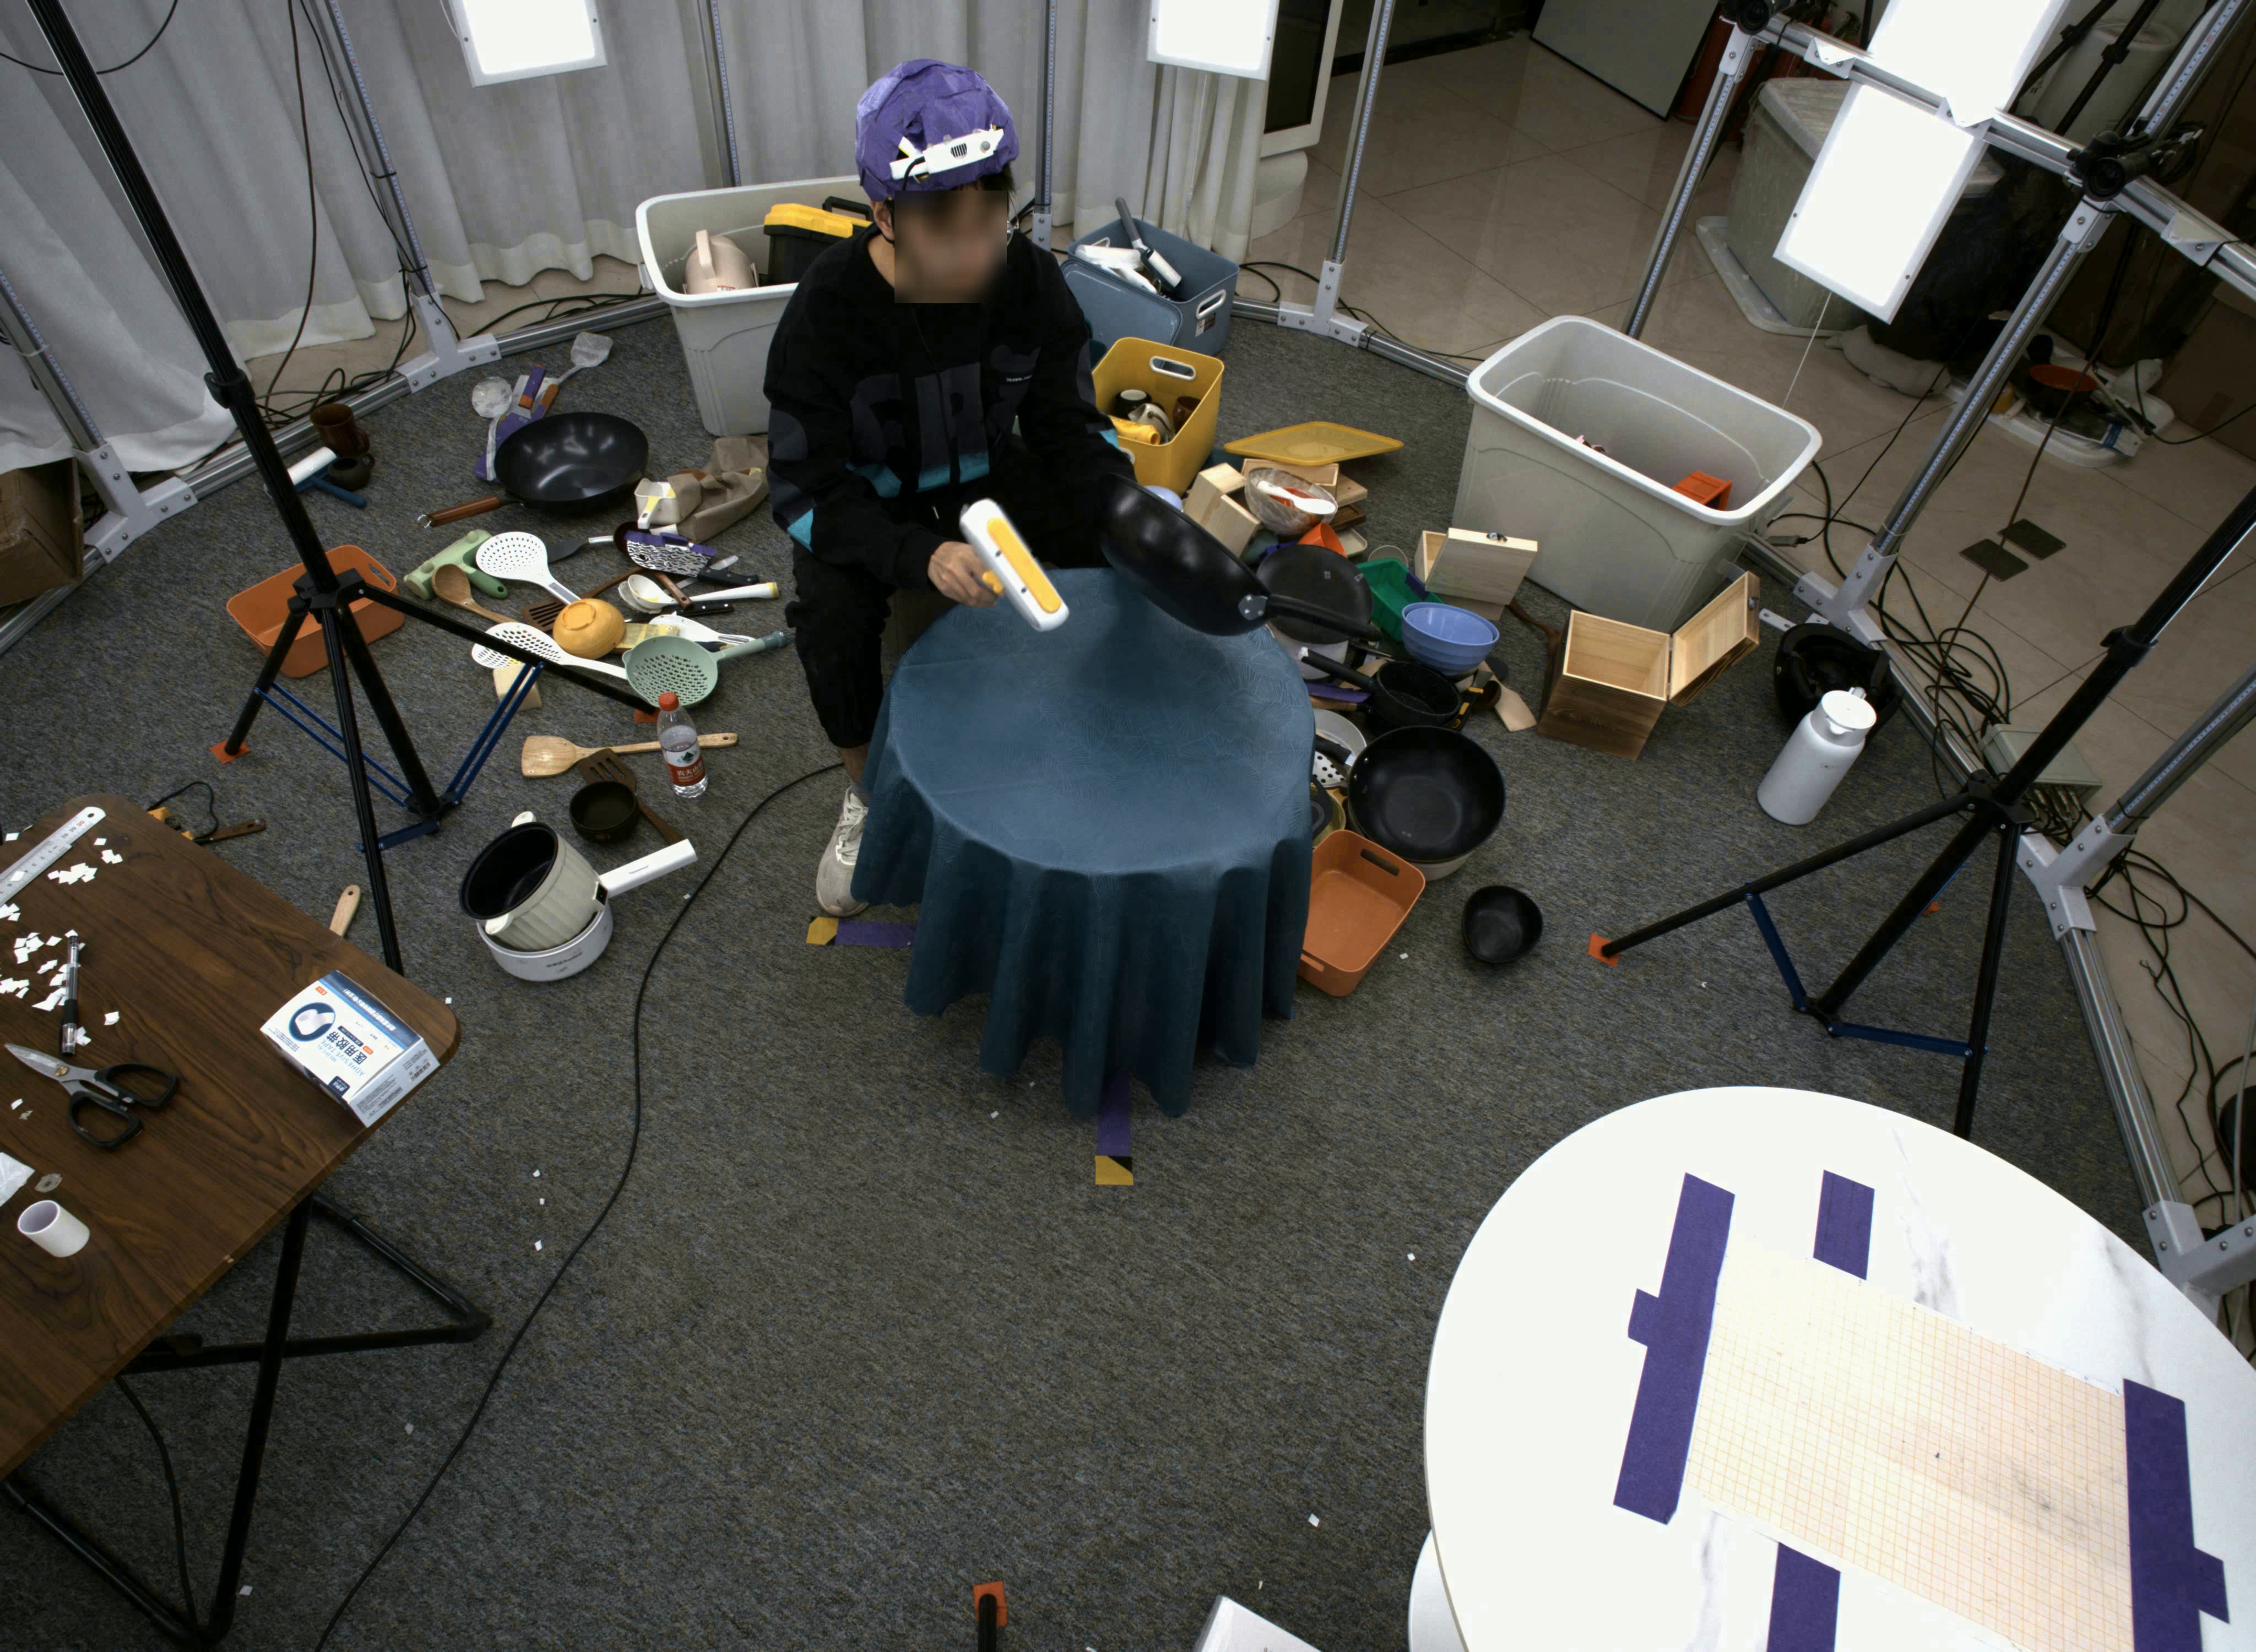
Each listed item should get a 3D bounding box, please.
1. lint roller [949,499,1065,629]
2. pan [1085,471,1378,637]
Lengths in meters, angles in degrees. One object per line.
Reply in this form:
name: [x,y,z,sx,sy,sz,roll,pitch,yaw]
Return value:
lint roller: [-0.183,-0.338,1.732,0.190,0.193,0.075,46,76,-17]
pan: [0.116,-0.318,1.704,0.485,0.305,0.111,38,93,34]
